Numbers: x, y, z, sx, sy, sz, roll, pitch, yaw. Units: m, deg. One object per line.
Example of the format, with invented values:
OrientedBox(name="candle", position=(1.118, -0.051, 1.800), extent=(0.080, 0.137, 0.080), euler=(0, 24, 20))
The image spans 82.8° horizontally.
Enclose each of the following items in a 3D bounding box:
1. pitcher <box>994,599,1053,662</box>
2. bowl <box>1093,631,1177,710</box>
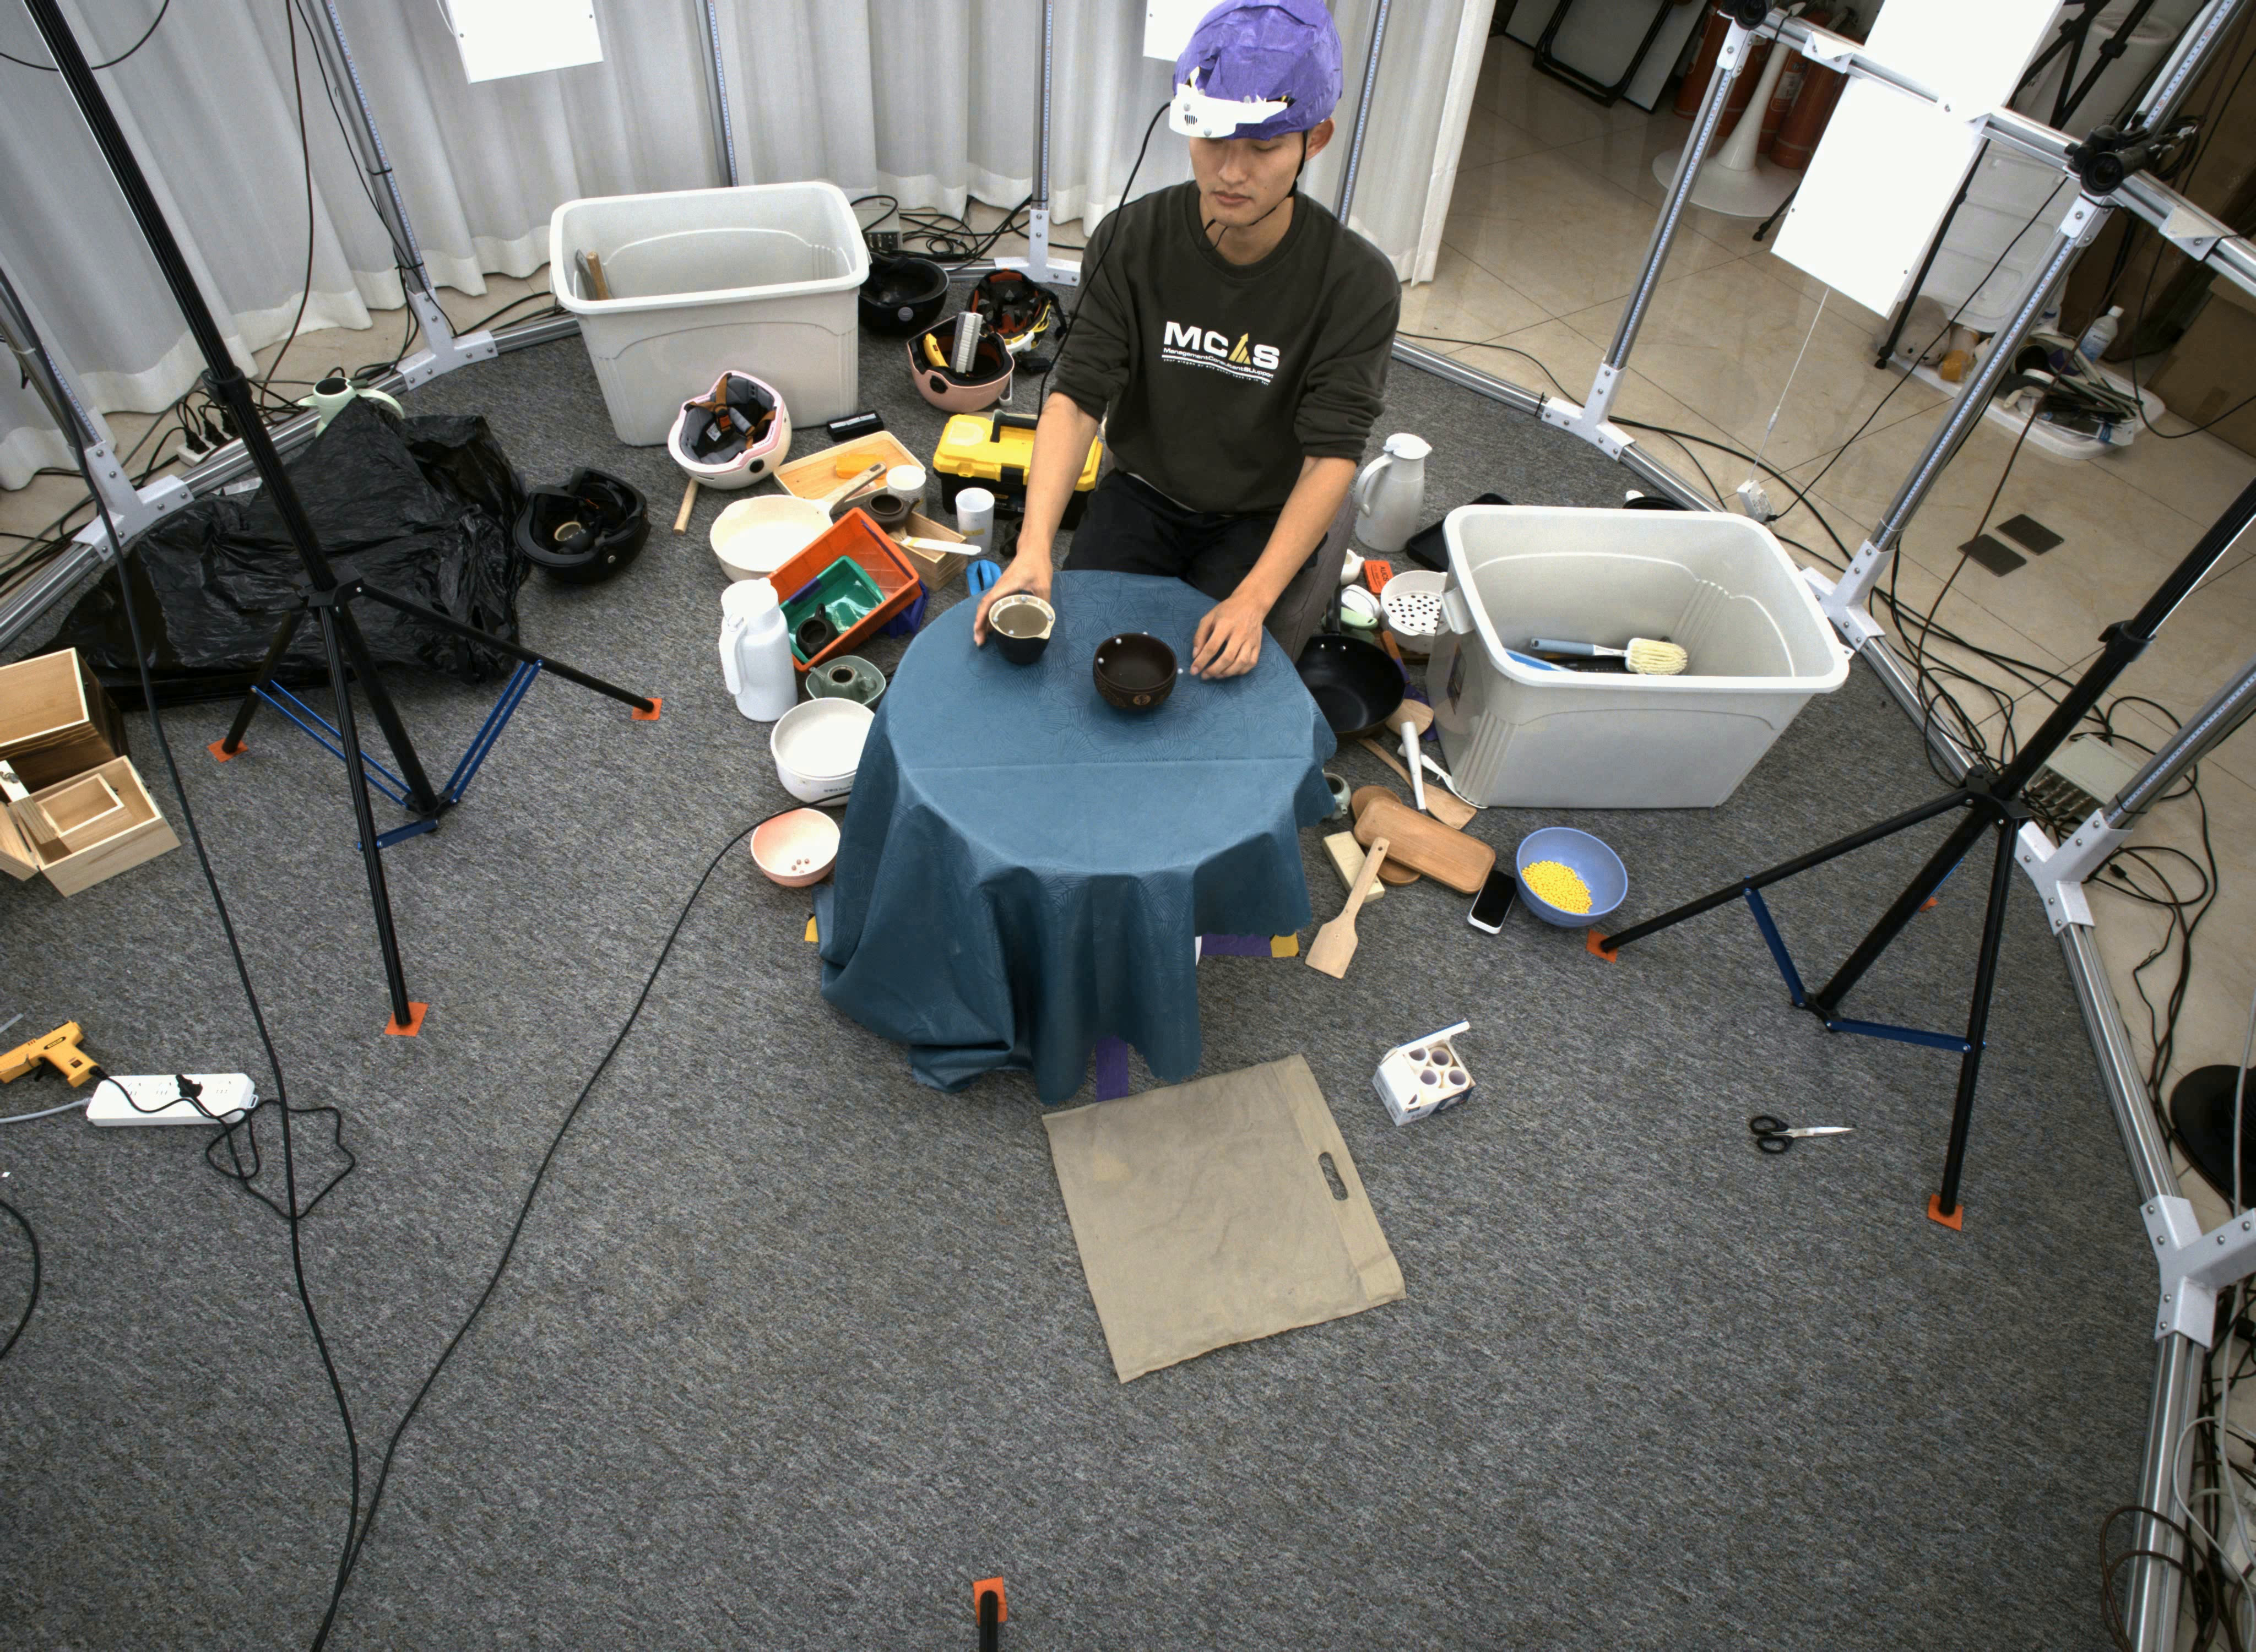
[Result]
OrientedBox(name="pitcher", position=(-0.147, -0.276, 1.845), extent=(0.084, 0.069, 0.098), euler=(-26, 55, -27))
OrientedBox(name="bowl", position=(0.009, -0.210, 1.801), extent=(0.118, 0.068, 0.121), euler=(1, 51, -2))
